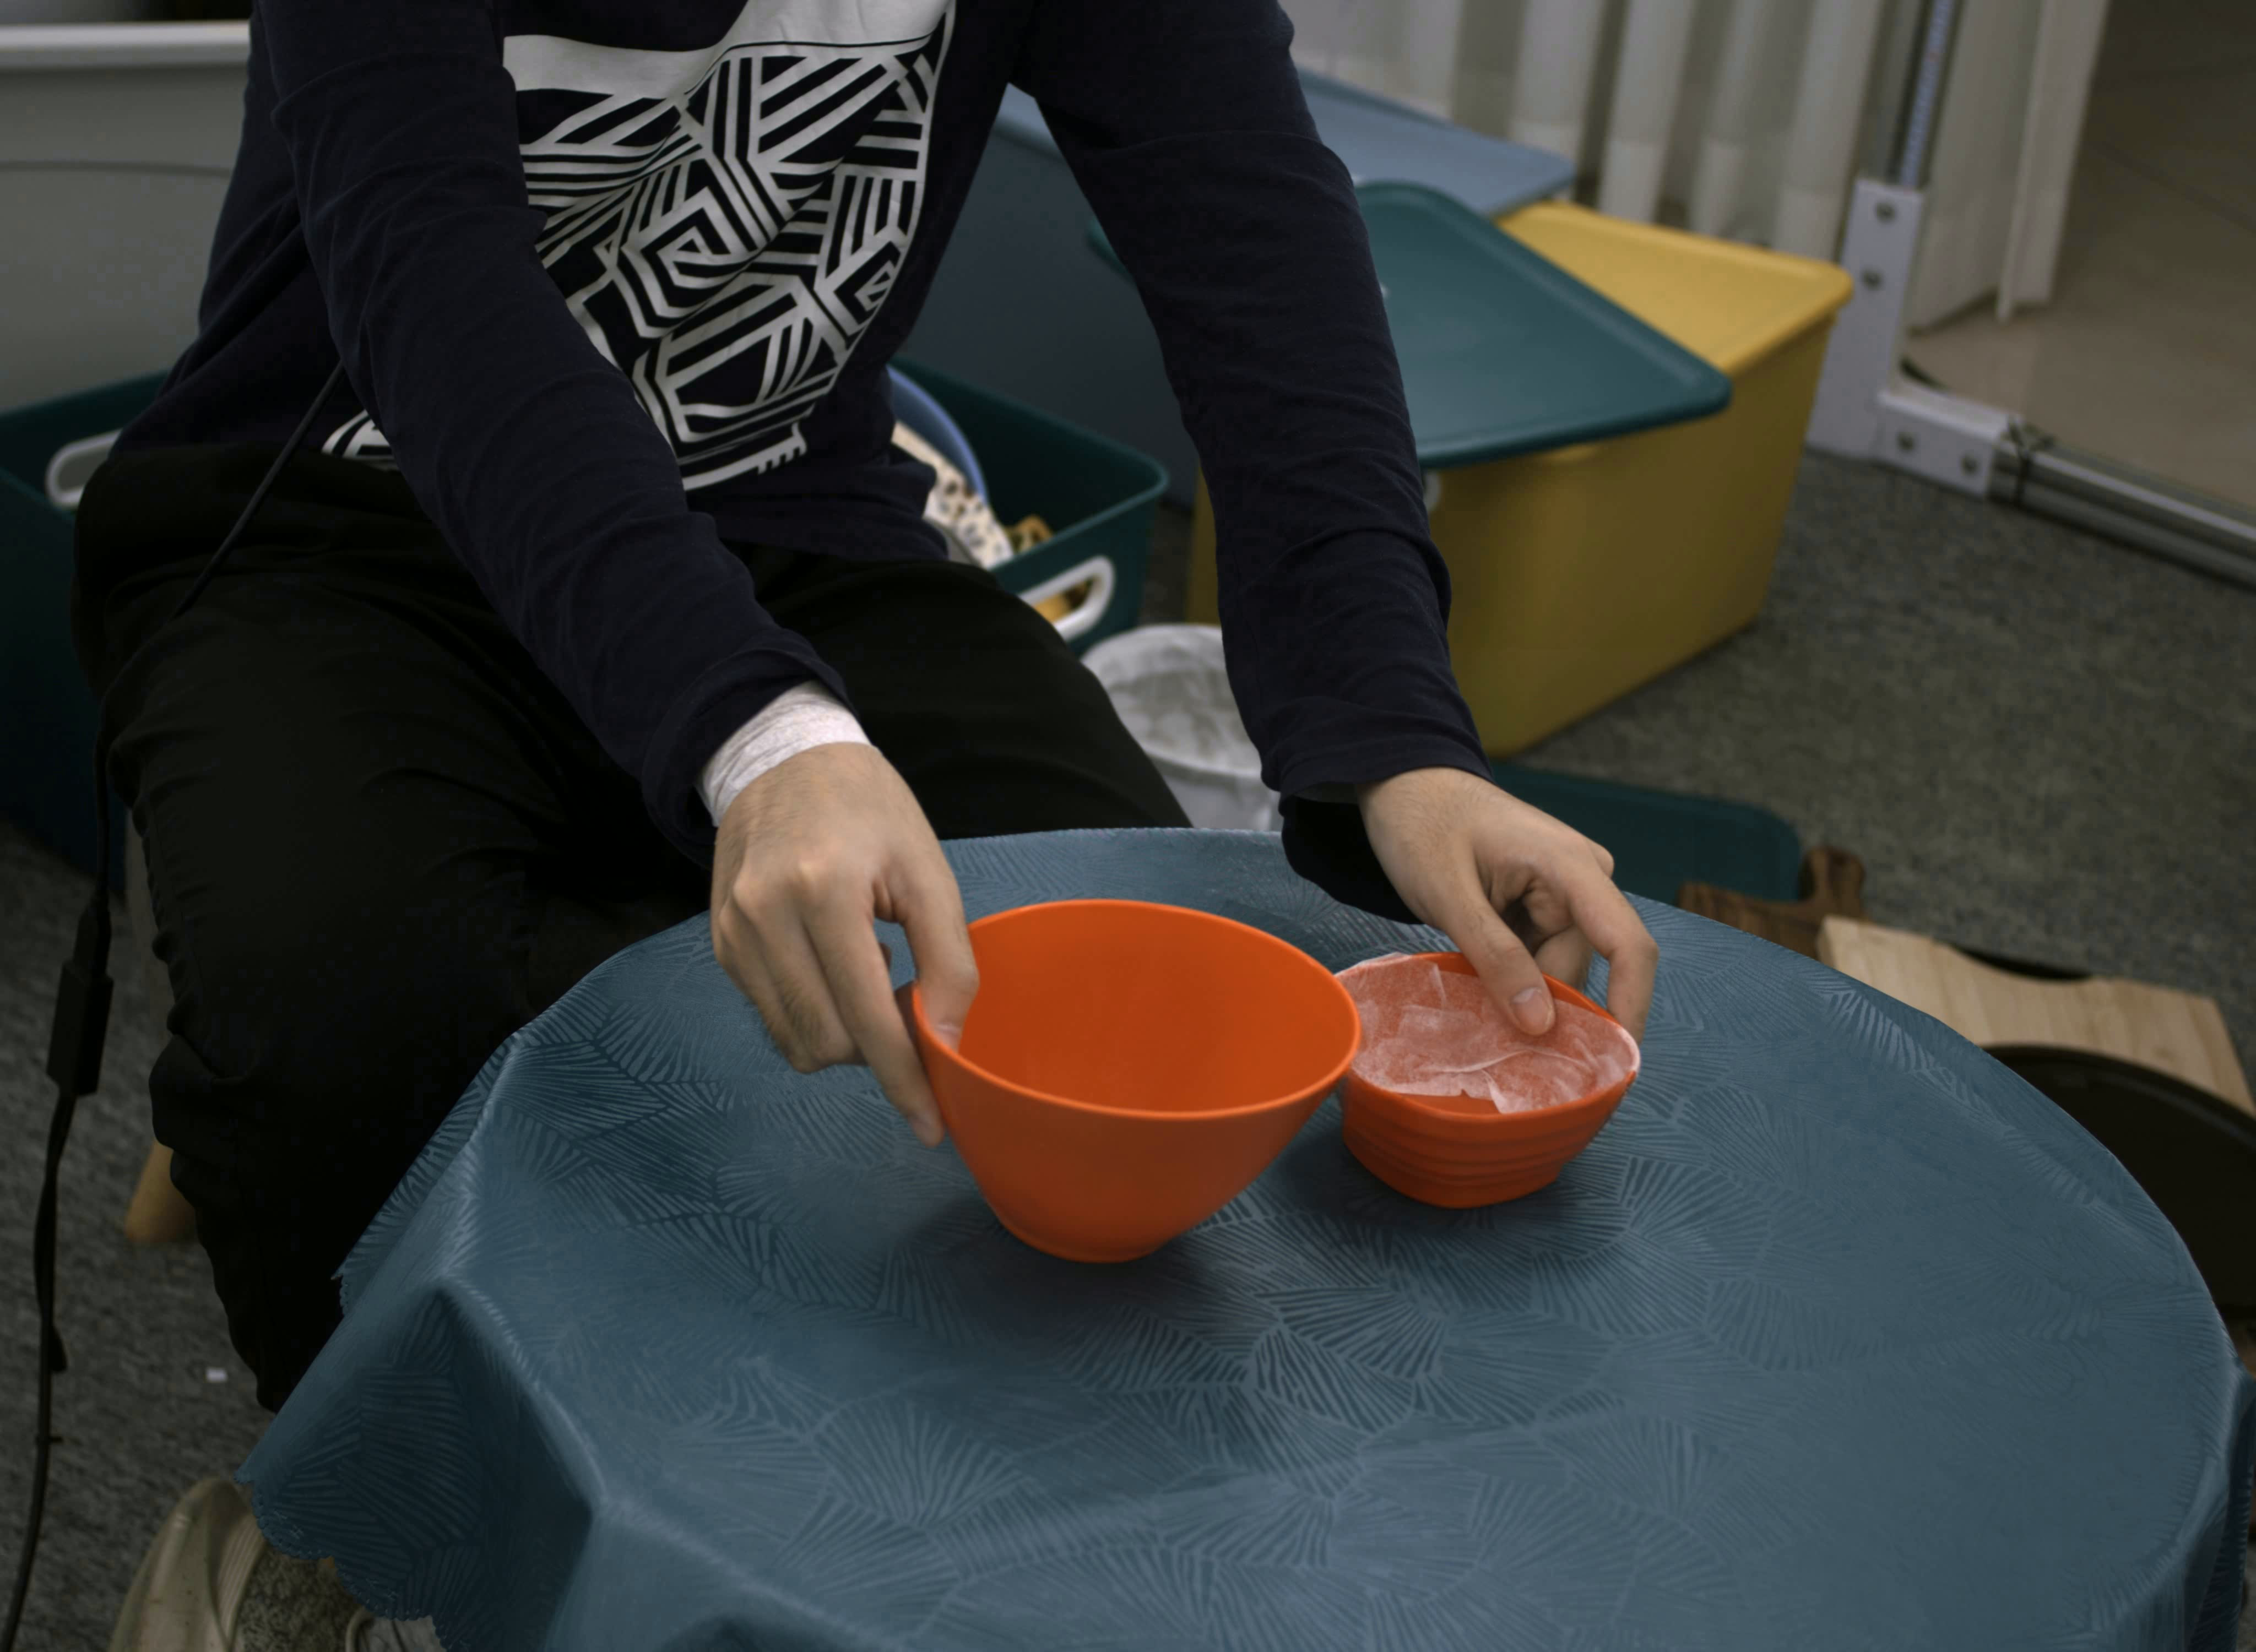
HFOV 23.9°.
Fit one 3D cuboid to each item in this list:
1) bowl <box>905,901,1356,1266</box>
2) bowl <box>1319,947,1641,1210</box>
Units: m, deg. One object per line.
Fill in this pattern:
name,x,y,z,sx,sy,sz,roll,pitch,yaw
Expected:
bowl,-0.005,0.092,1.751,0.147,0.104,0.149,6,35,-5
bowl,0.115,0.091,1.839,0.118,0.051,0.119,4,28,-3
